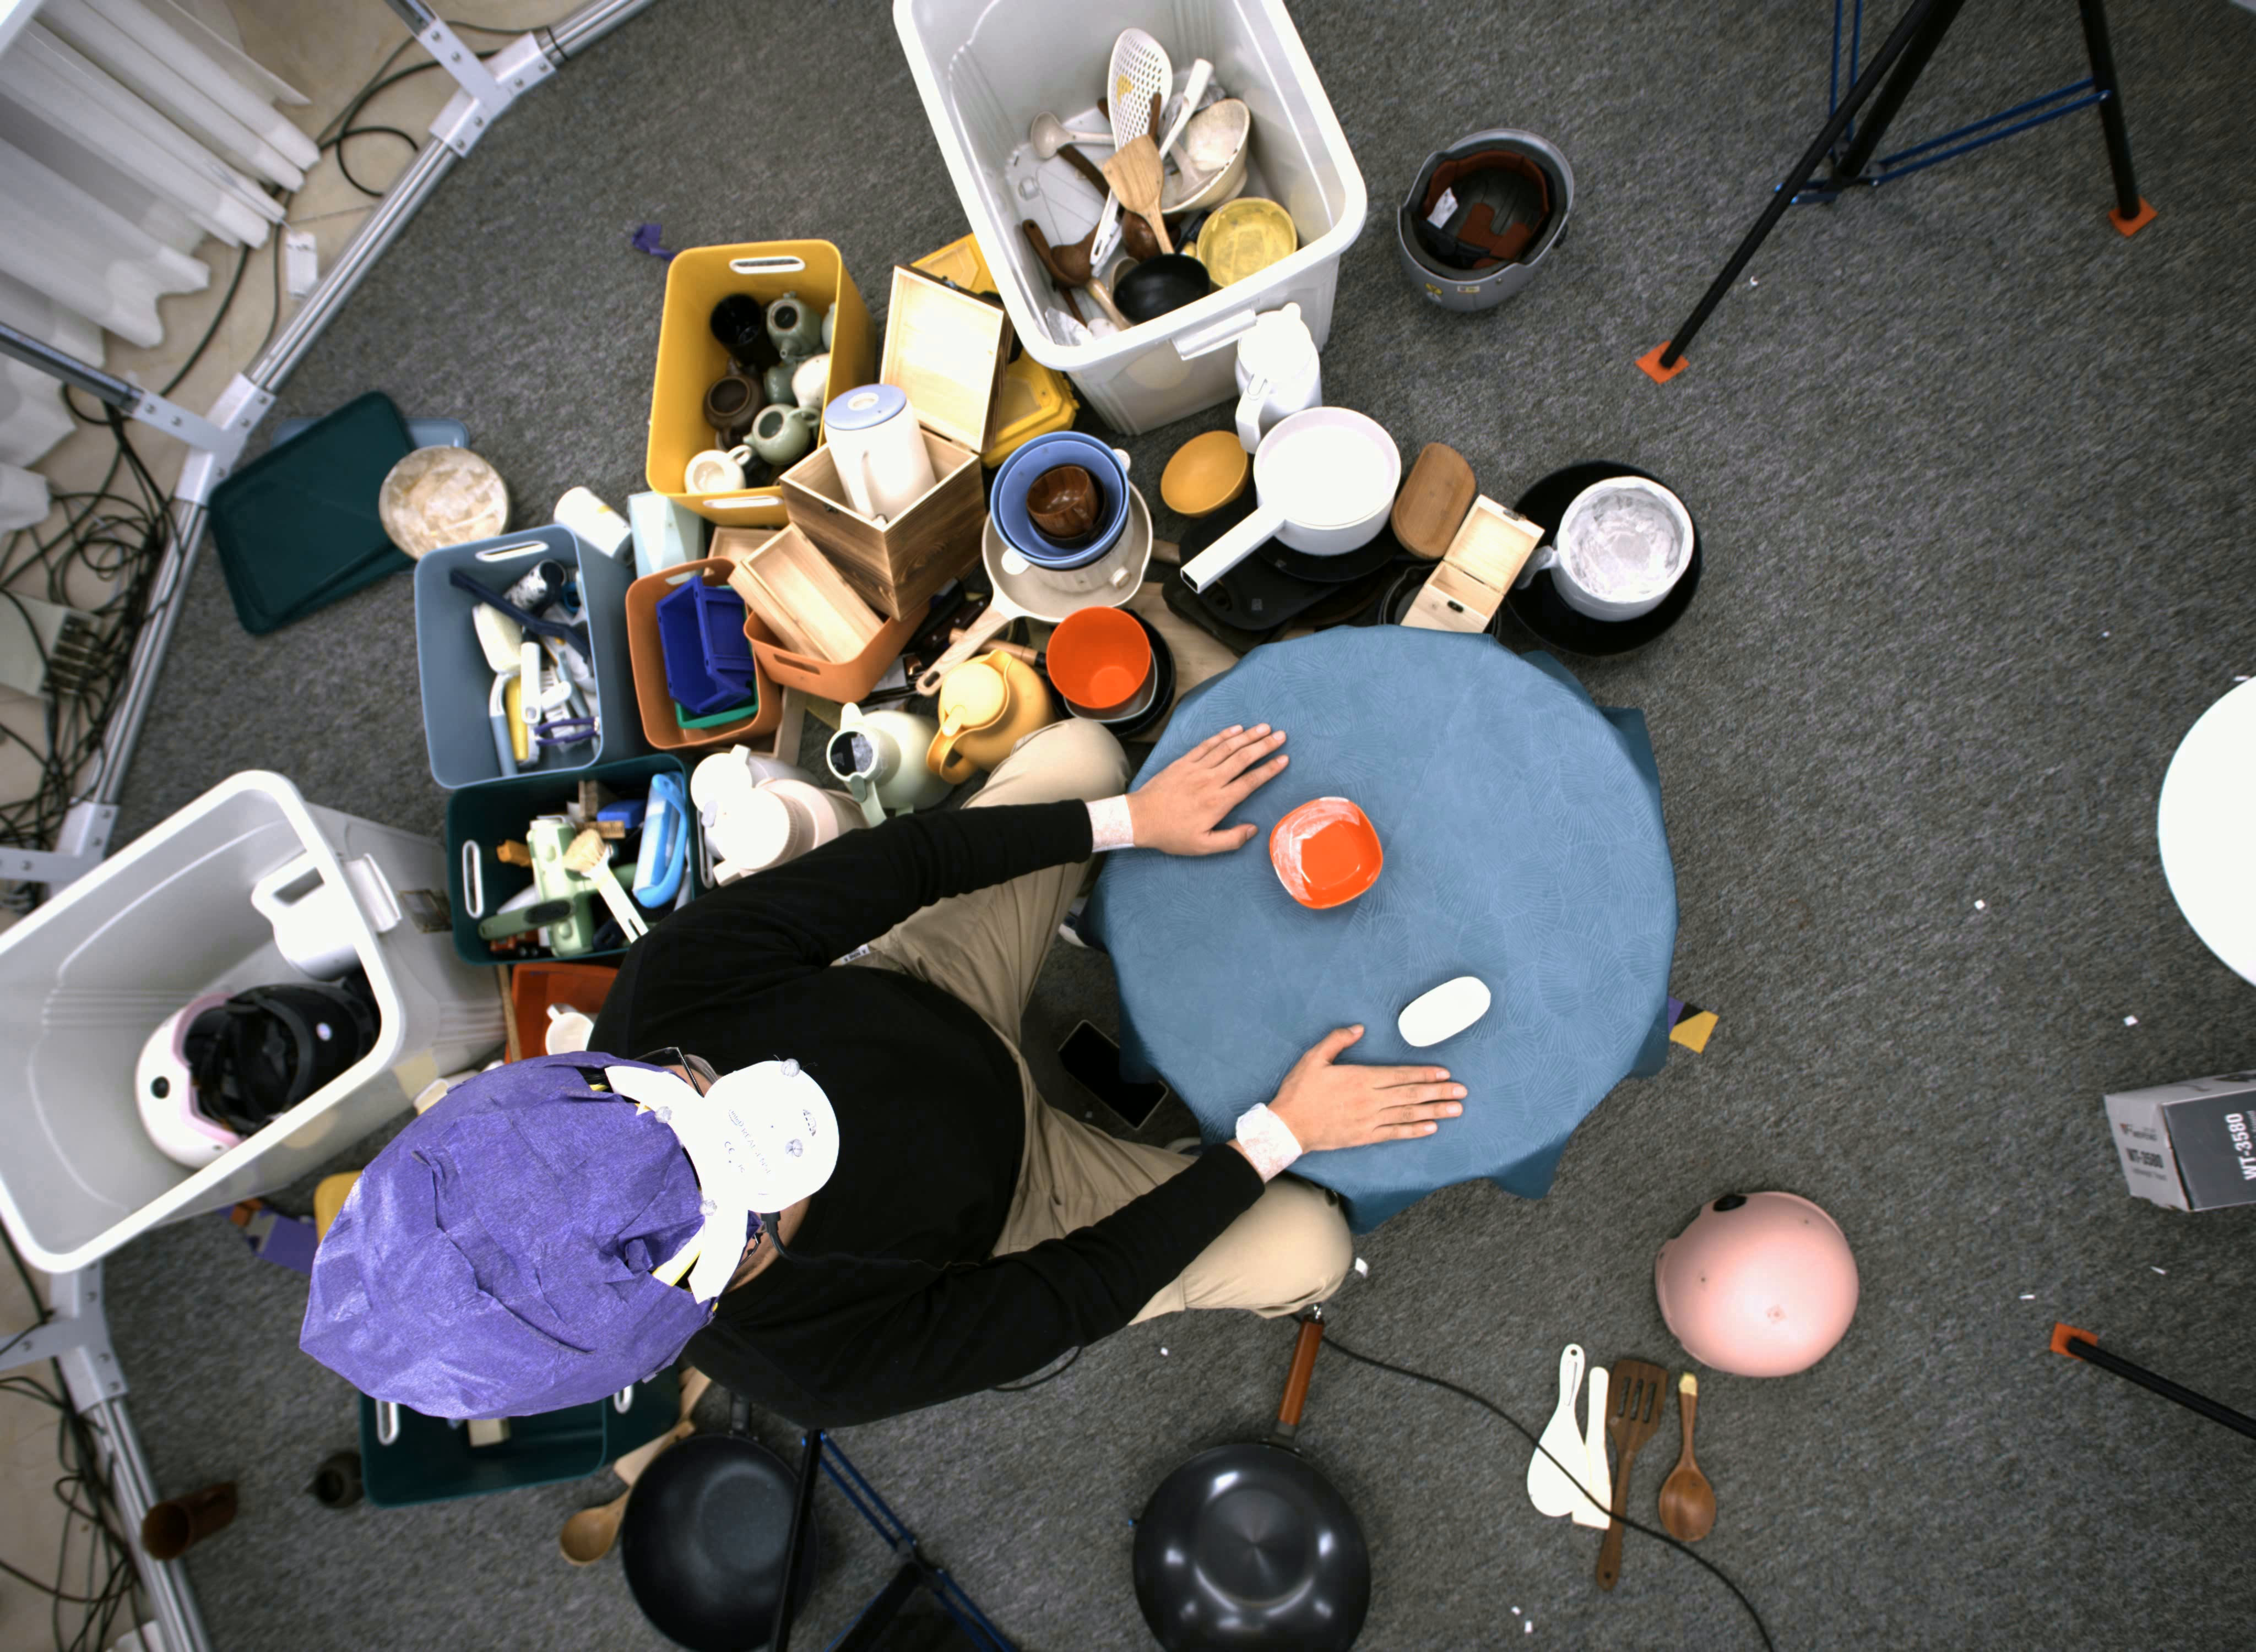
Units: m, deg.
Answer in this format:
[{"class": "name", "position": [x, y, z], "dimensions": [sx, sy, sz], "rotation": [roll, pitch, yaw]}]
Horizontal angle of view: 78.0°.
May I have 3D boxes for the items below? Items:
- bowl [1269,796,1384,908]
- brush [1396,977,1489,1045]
[{"class": "bowl", "position": [0.207, 0.028, 1.447], "dimensions": [0.119, 0.051, 0.118], "rotation": [-1, 87, 8]}, {"class": "brush", "position": [0.321, 0.188, 1.407], "dimensions": [0.100, 0.072, 0.050], "rotation": [-28, 81, 7]}]
